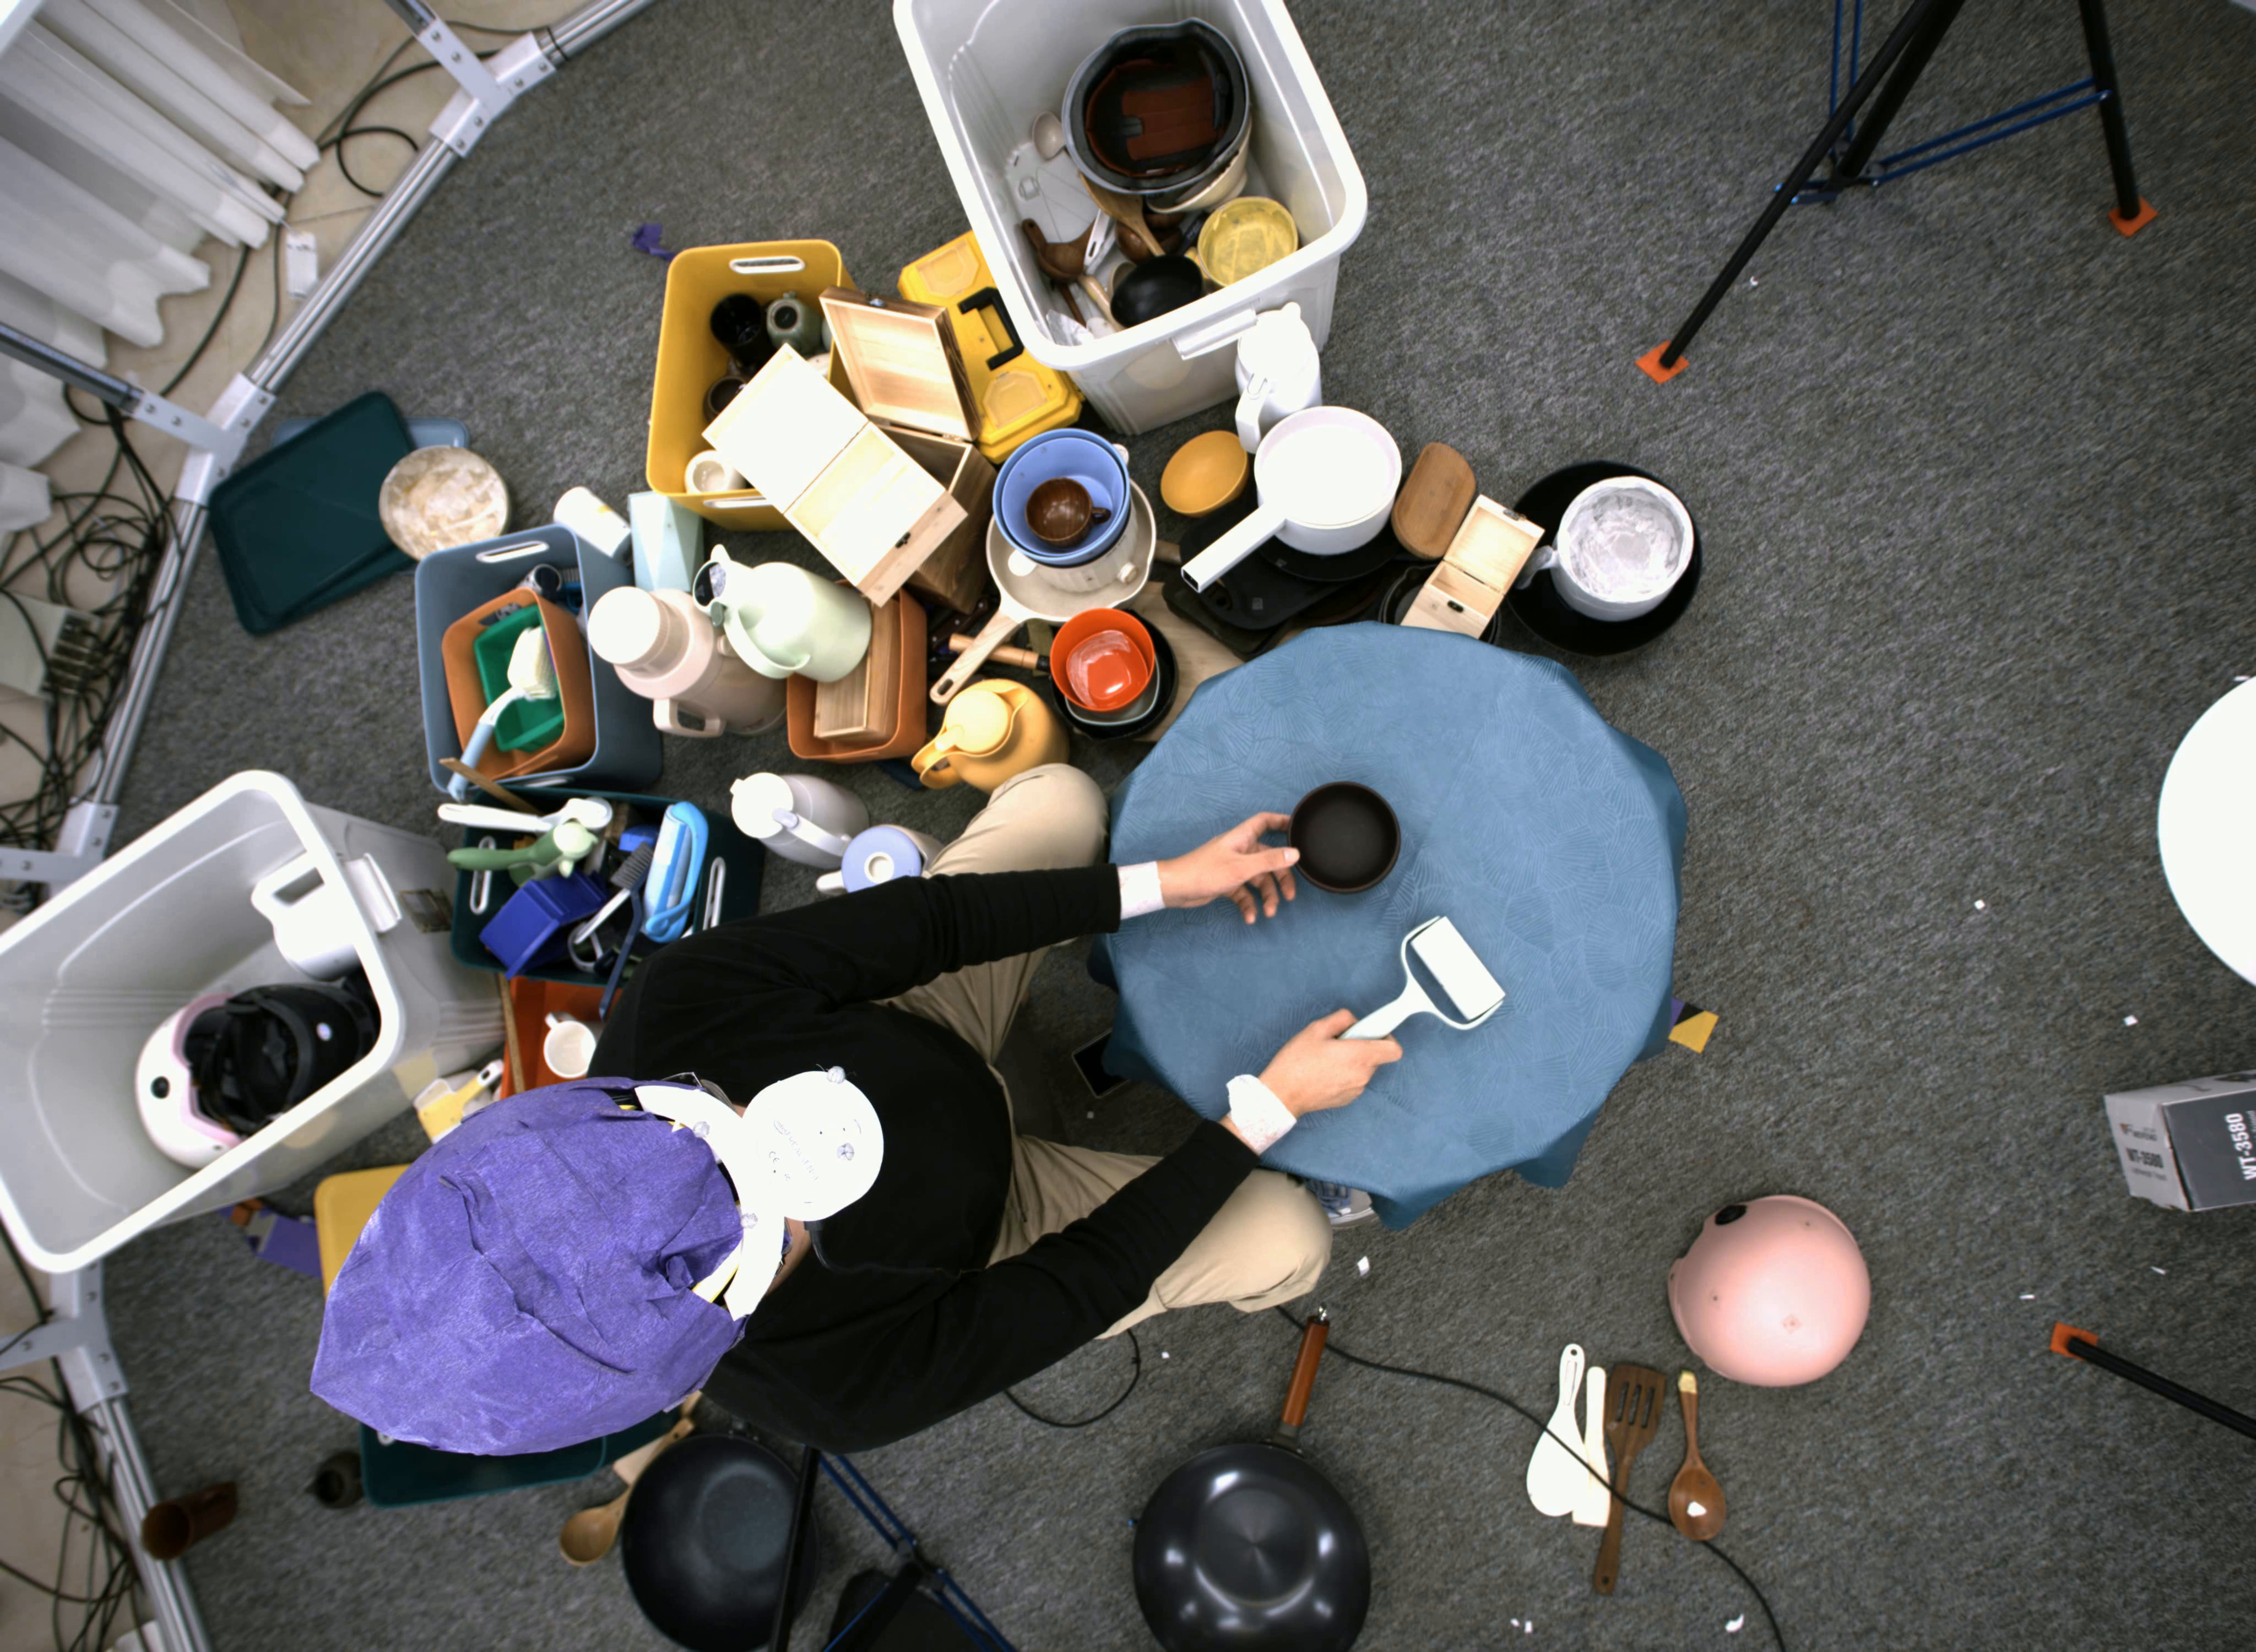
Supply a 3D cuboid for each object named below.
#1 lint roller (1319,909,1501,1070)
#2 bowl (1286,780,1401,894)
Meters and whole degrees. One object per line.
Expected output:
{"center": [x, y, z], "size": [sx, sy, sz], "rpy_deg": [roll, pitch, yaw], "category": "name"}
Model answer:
{"center": [0.274, 0.180, 1.414], "size": [0.197, 0.049, 0.116], "rpy_deg": [-36, 81, -4], "category": "lint roller"}
{"center": [0.224, 0.012, 1.436], "size": [0.118, 0.070, 0.117], "rpy_deg": [-1, 87, 11], "category": "bowl"}
